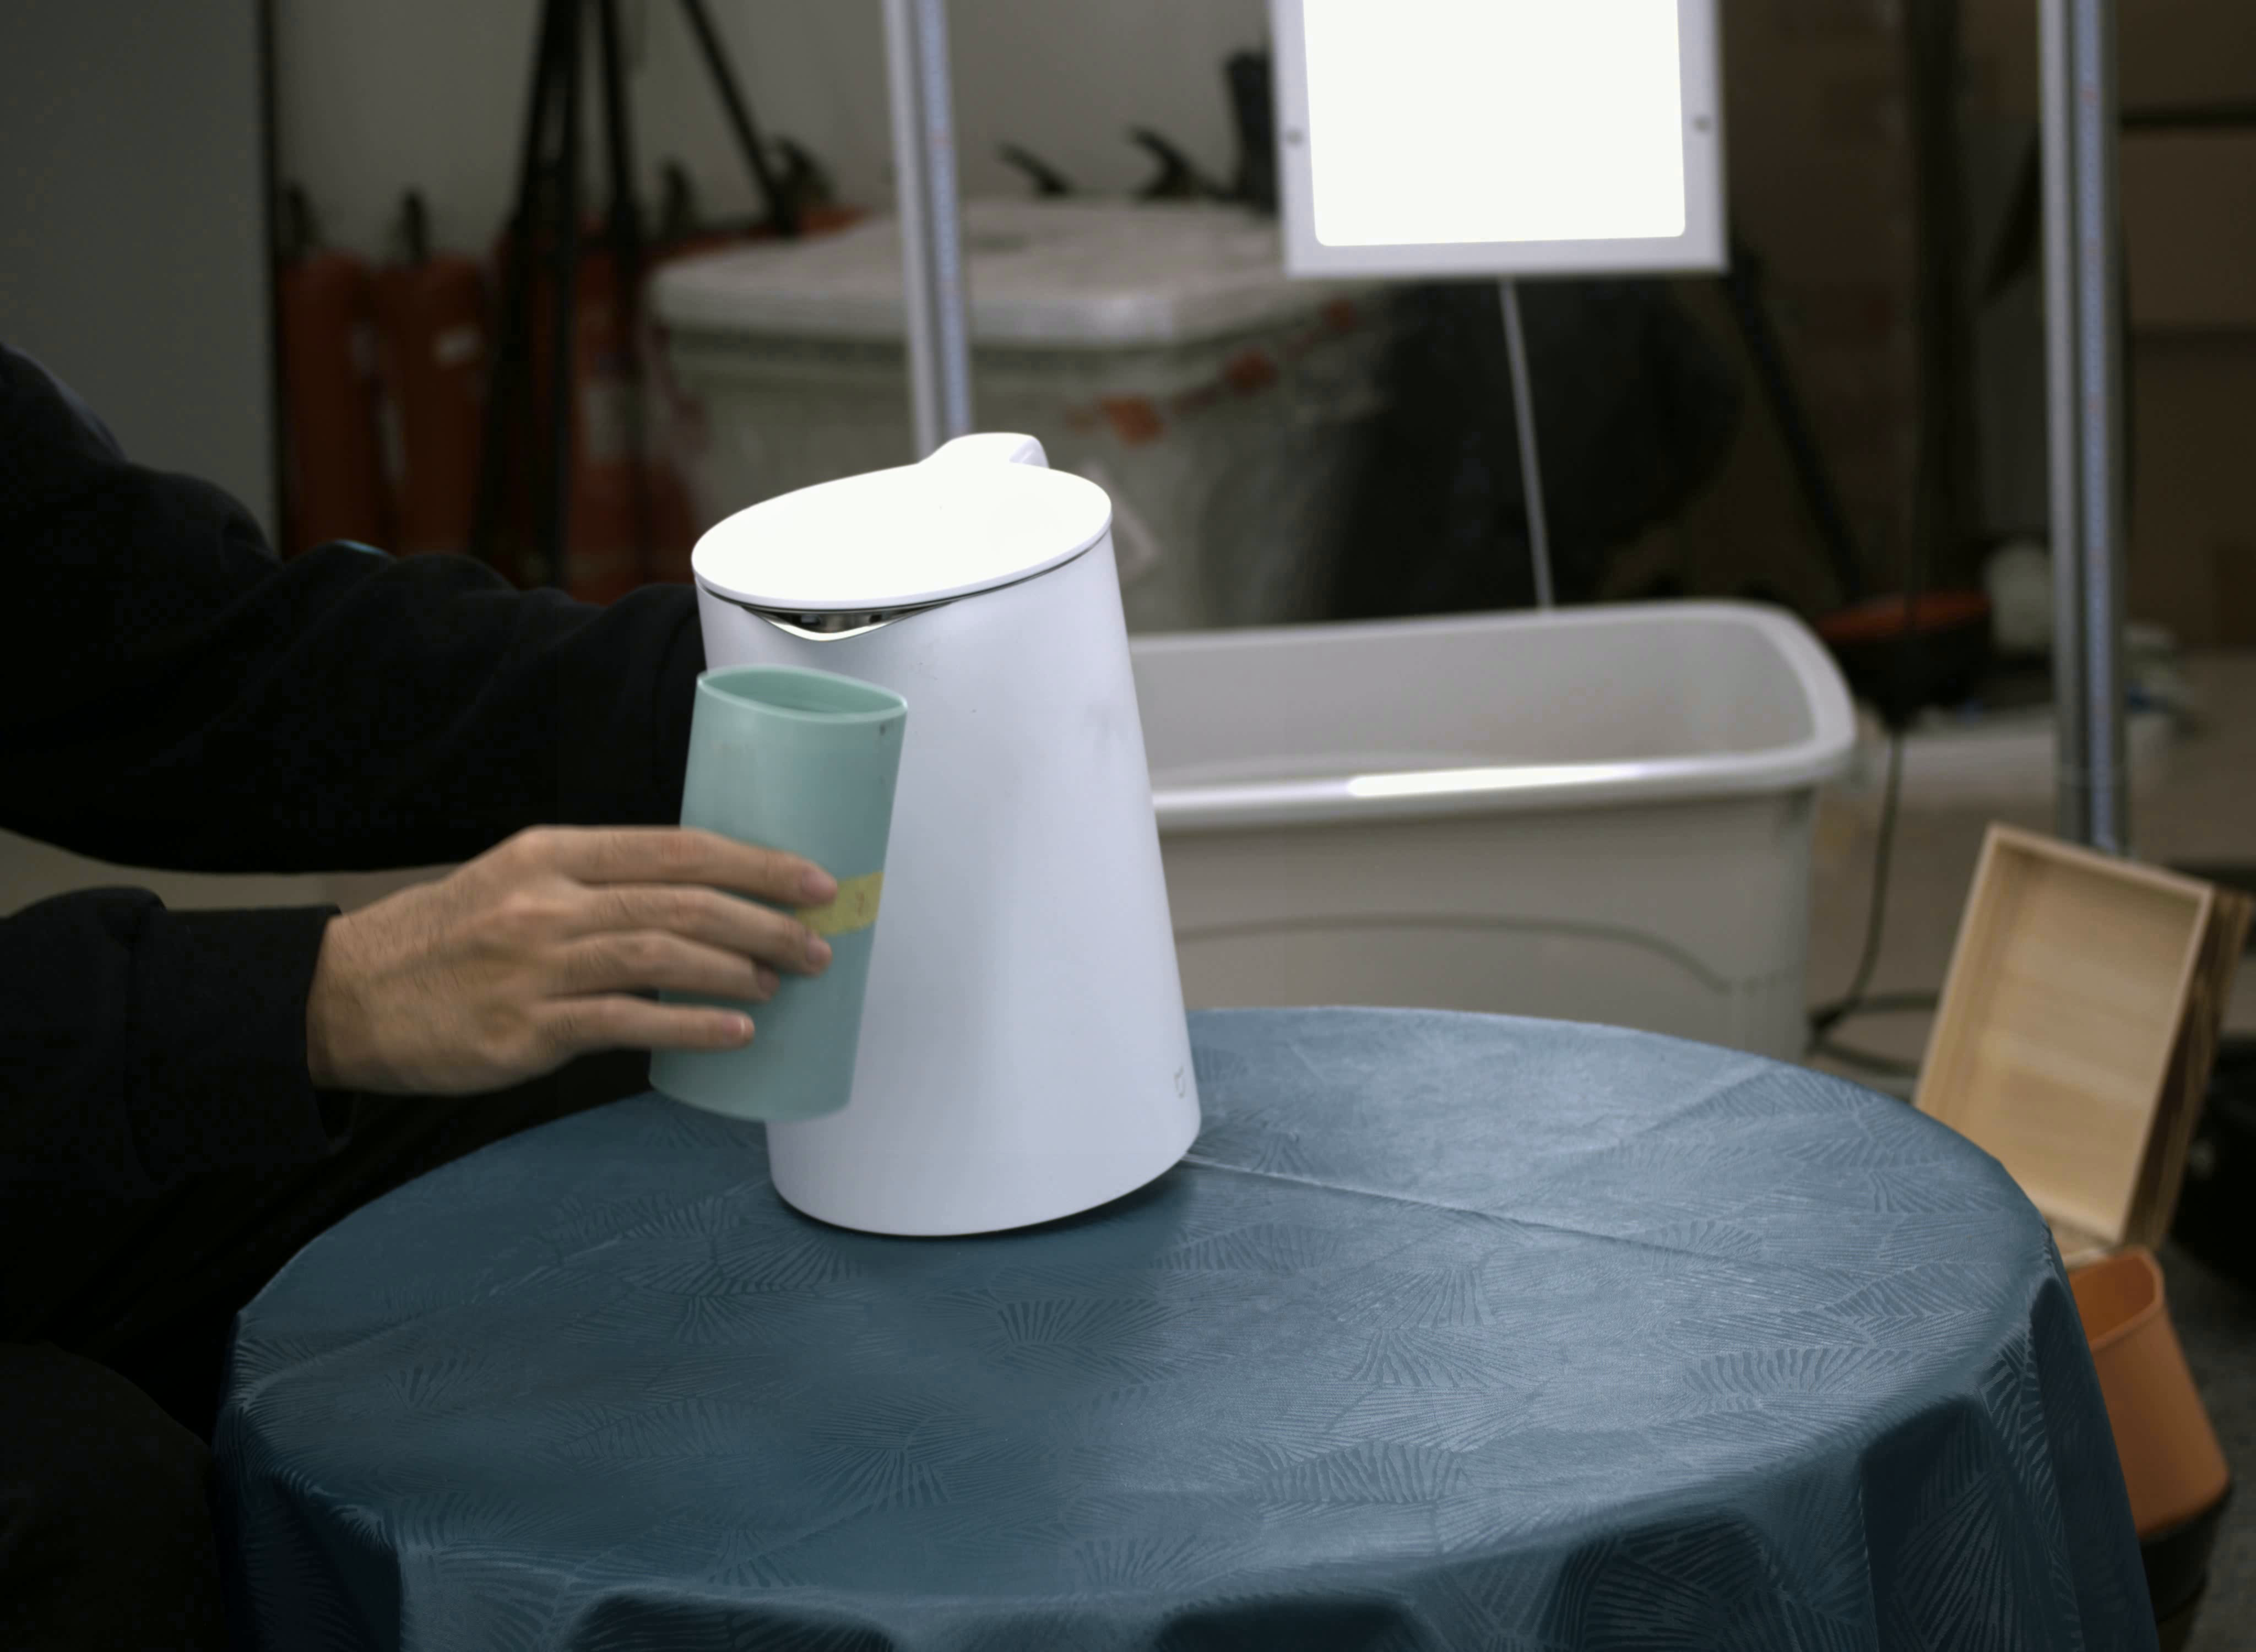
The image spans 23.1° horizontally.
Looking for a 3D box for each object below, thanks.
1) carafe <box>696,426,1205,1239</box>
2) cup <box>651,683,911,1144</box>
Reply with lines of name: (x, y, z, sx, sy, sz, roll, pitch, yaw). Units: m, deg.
carafe: (-0.053, -0.004, 1.910, 0.154, 0.241, 0.210, 0, 23, 18)
cup: (-0.110, 0.026, 1.722, 0.066, 0.133, 0.066, 7, 15, -3)
